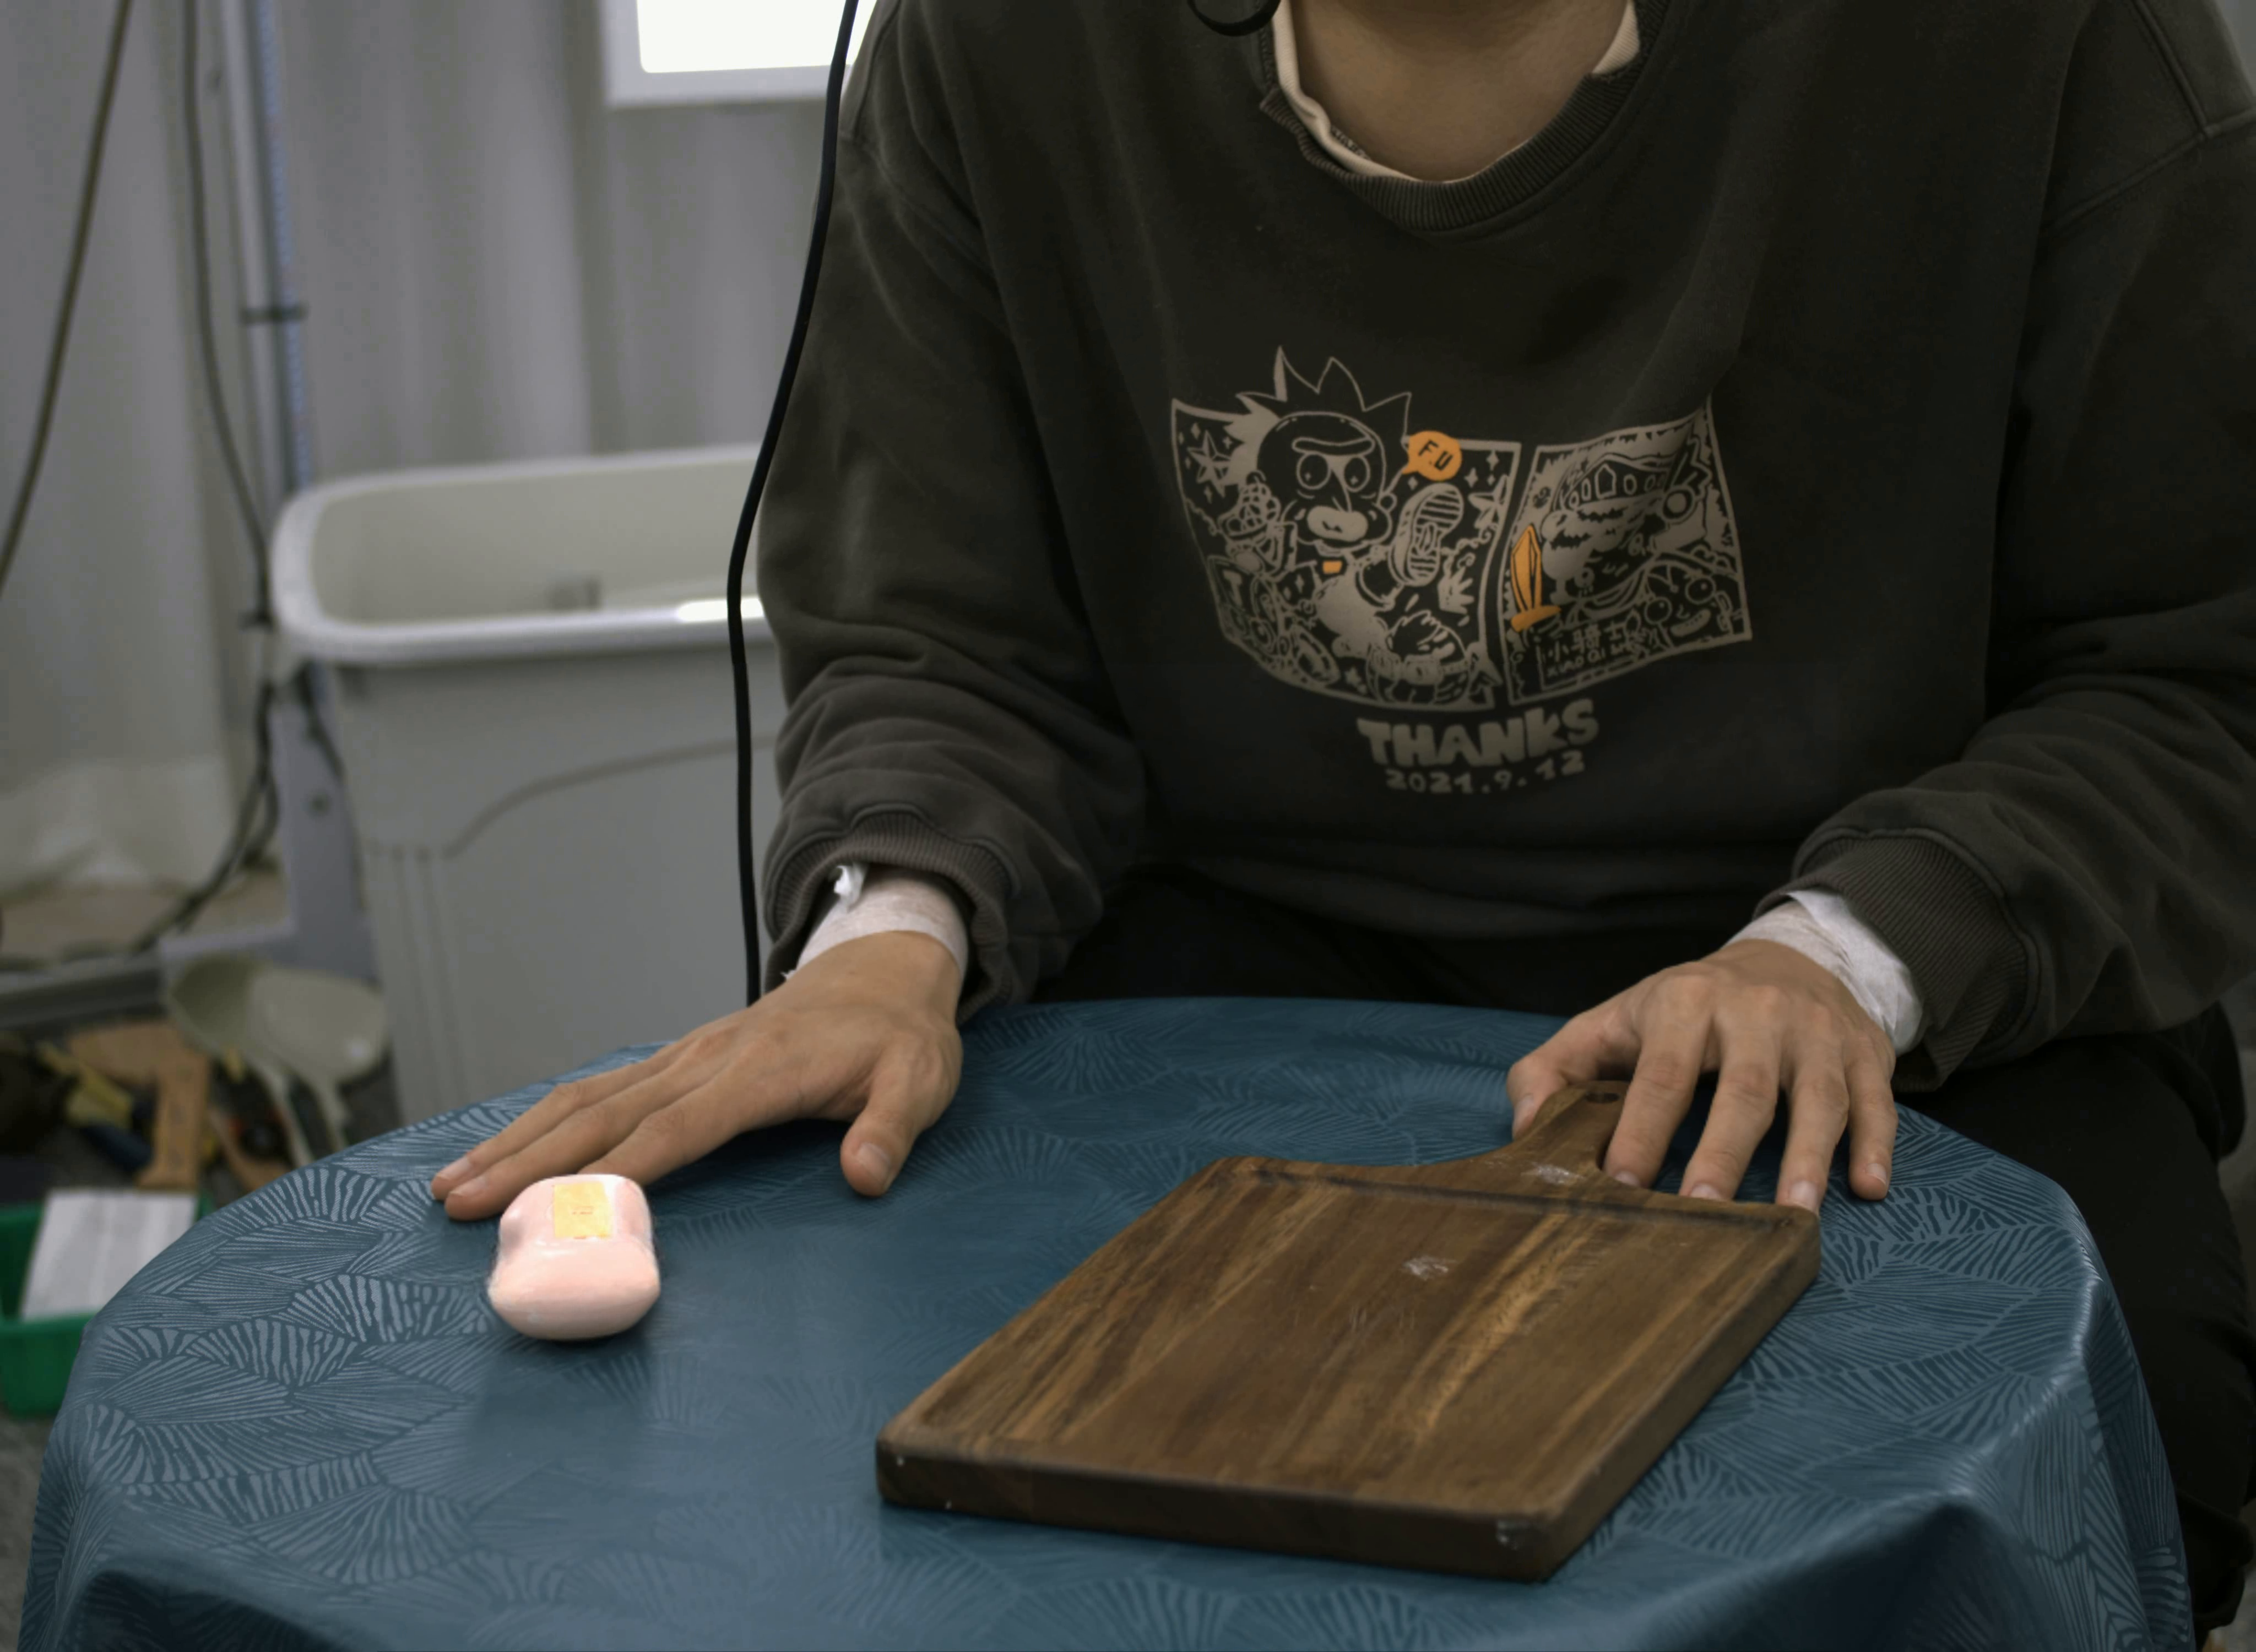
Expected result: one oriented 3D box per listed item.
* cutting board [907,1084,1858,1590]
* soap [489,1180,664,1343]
[{"bbox_3d":[0.097,0.137,1.581,0.201,0.023,0.353,4,16,24],"label":"cutting board"},{"bbox_3d":[-0.165,0.131,1.643,0.050,0.030,0.095,-3,13,-2],"label":"soap"}]
